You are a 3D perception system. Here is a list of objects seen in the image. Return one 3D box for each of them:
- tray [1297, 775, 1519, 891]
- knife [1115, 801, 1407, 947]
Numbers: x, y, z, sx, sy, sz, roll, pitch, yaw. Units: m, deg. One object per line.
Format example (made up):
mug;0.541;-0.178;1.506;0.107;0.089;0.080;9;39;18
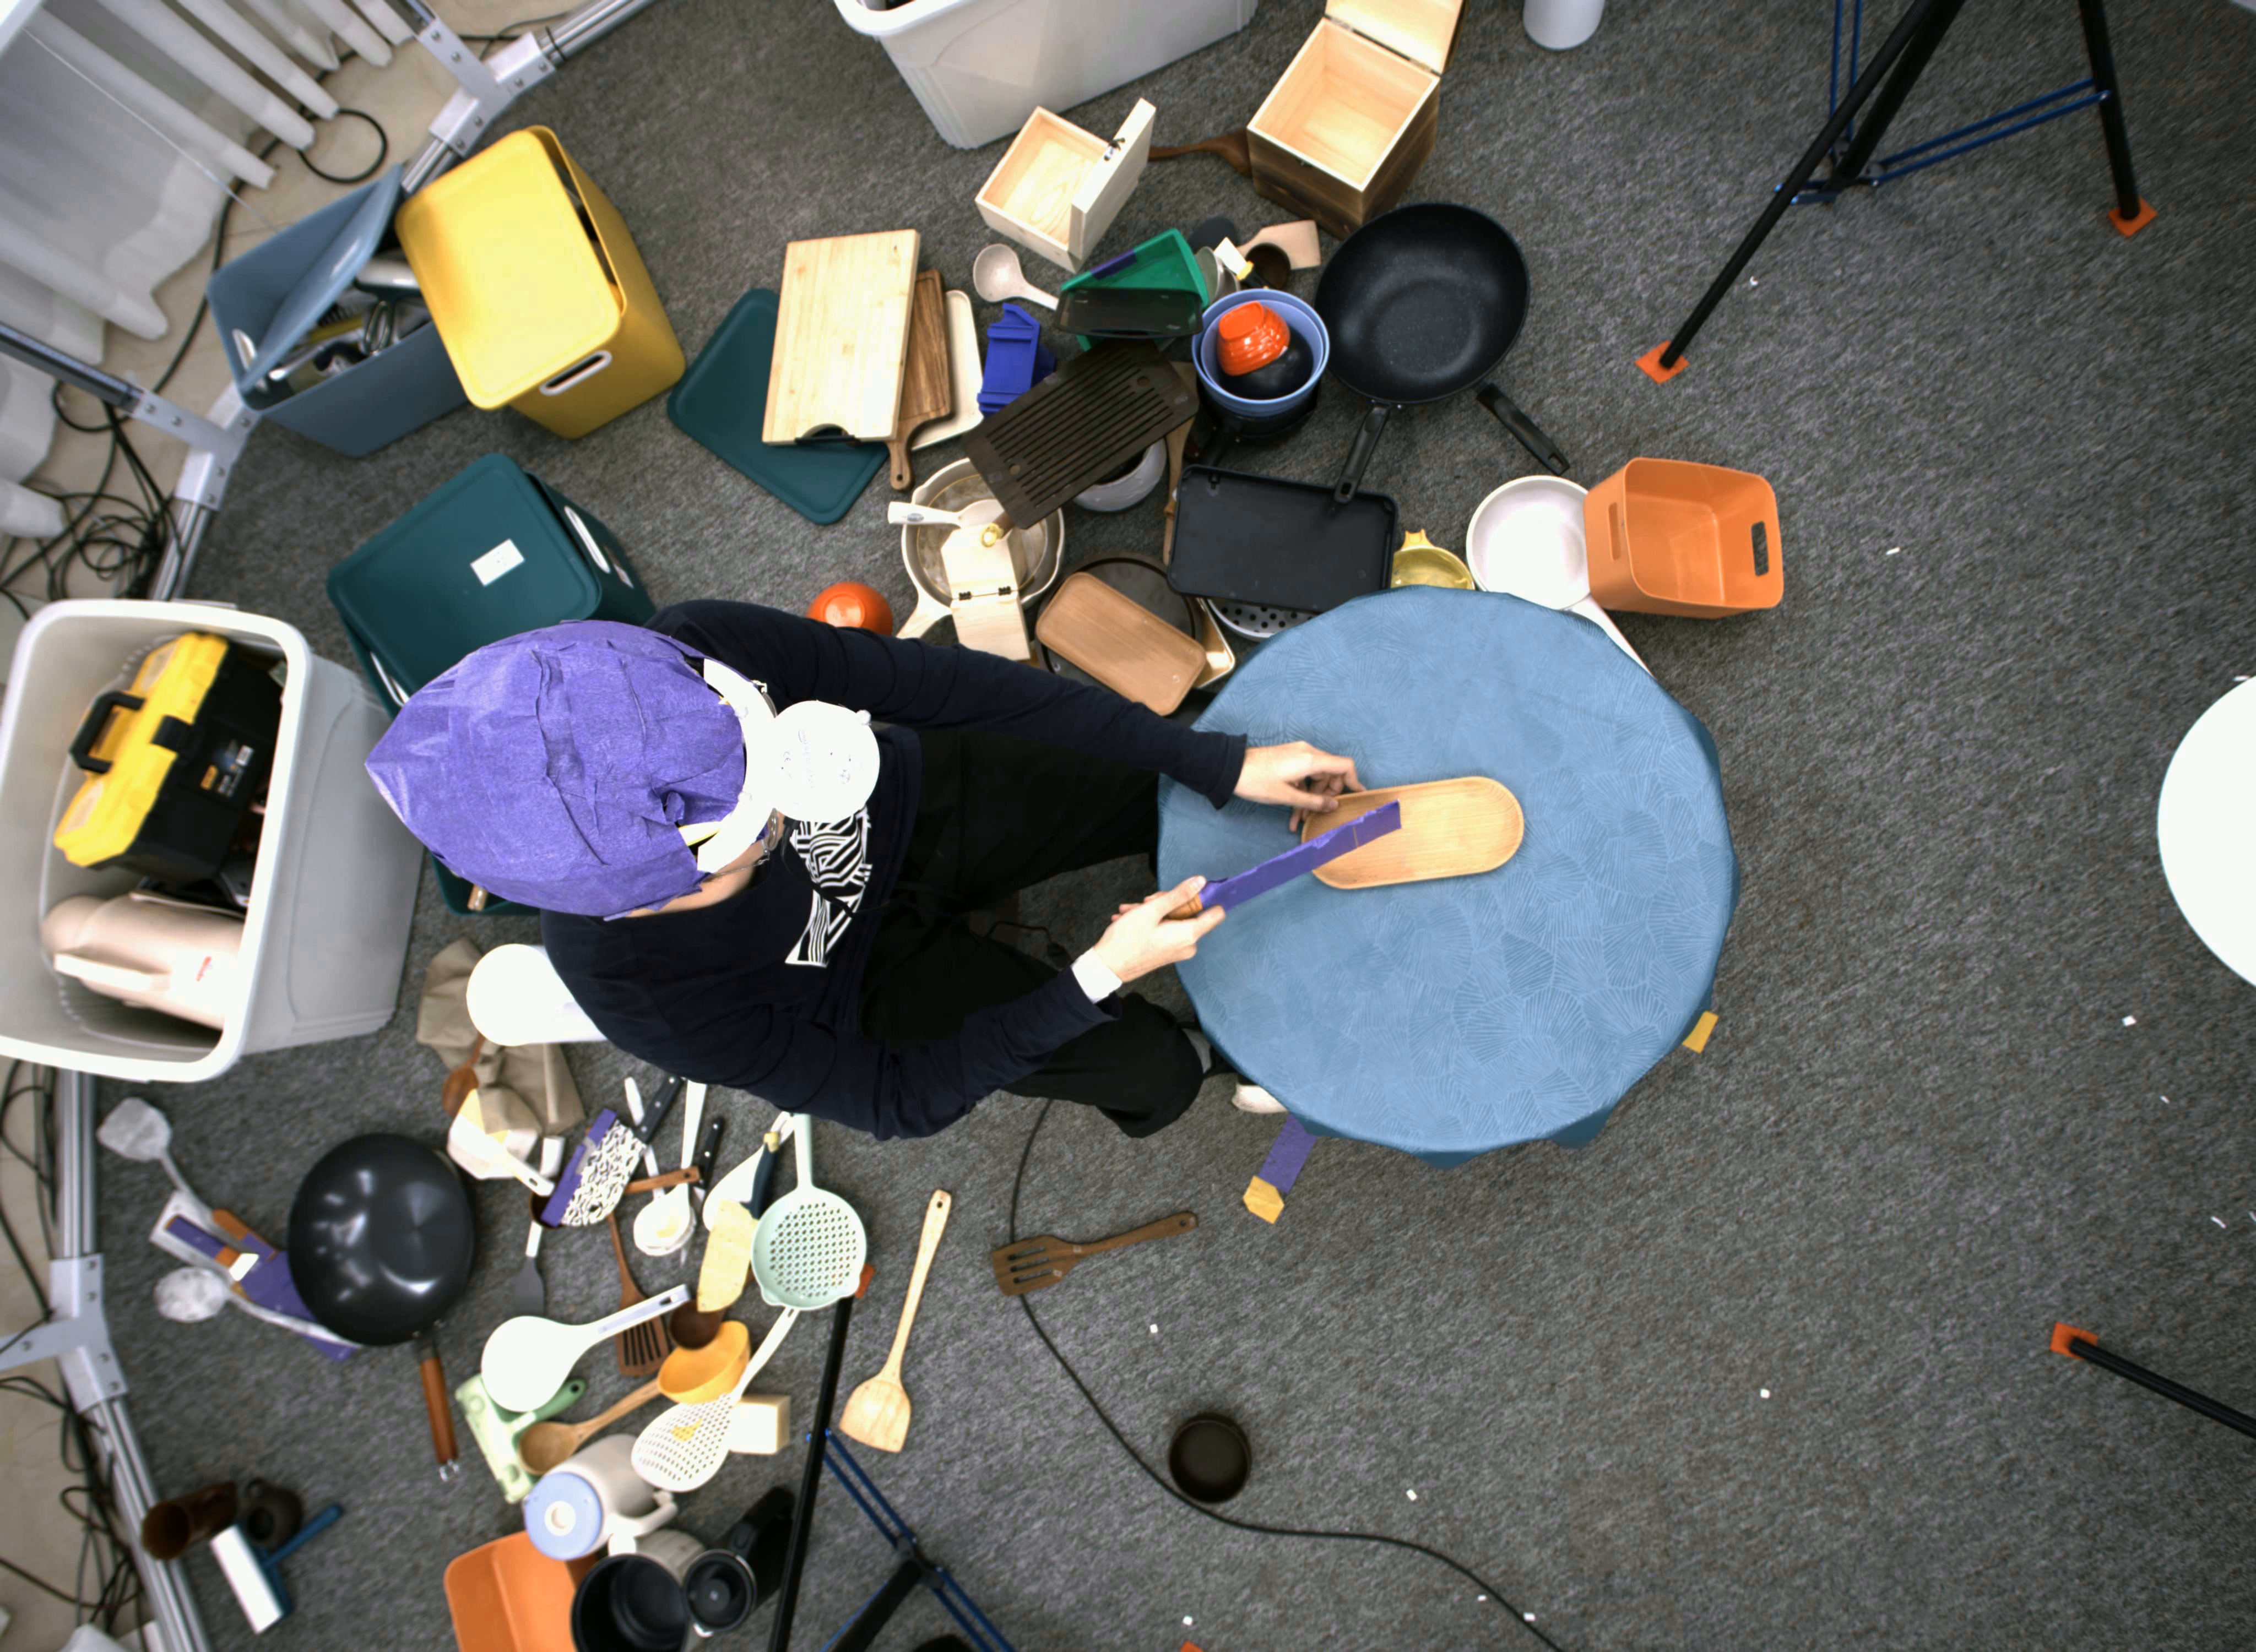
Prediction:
tray;0.294;0.007;1.449;0.232;0.020;0.101;-10;87;12
knife;0.141;0.056;1.416;0.316;0.105;0.032;-24;69;5
